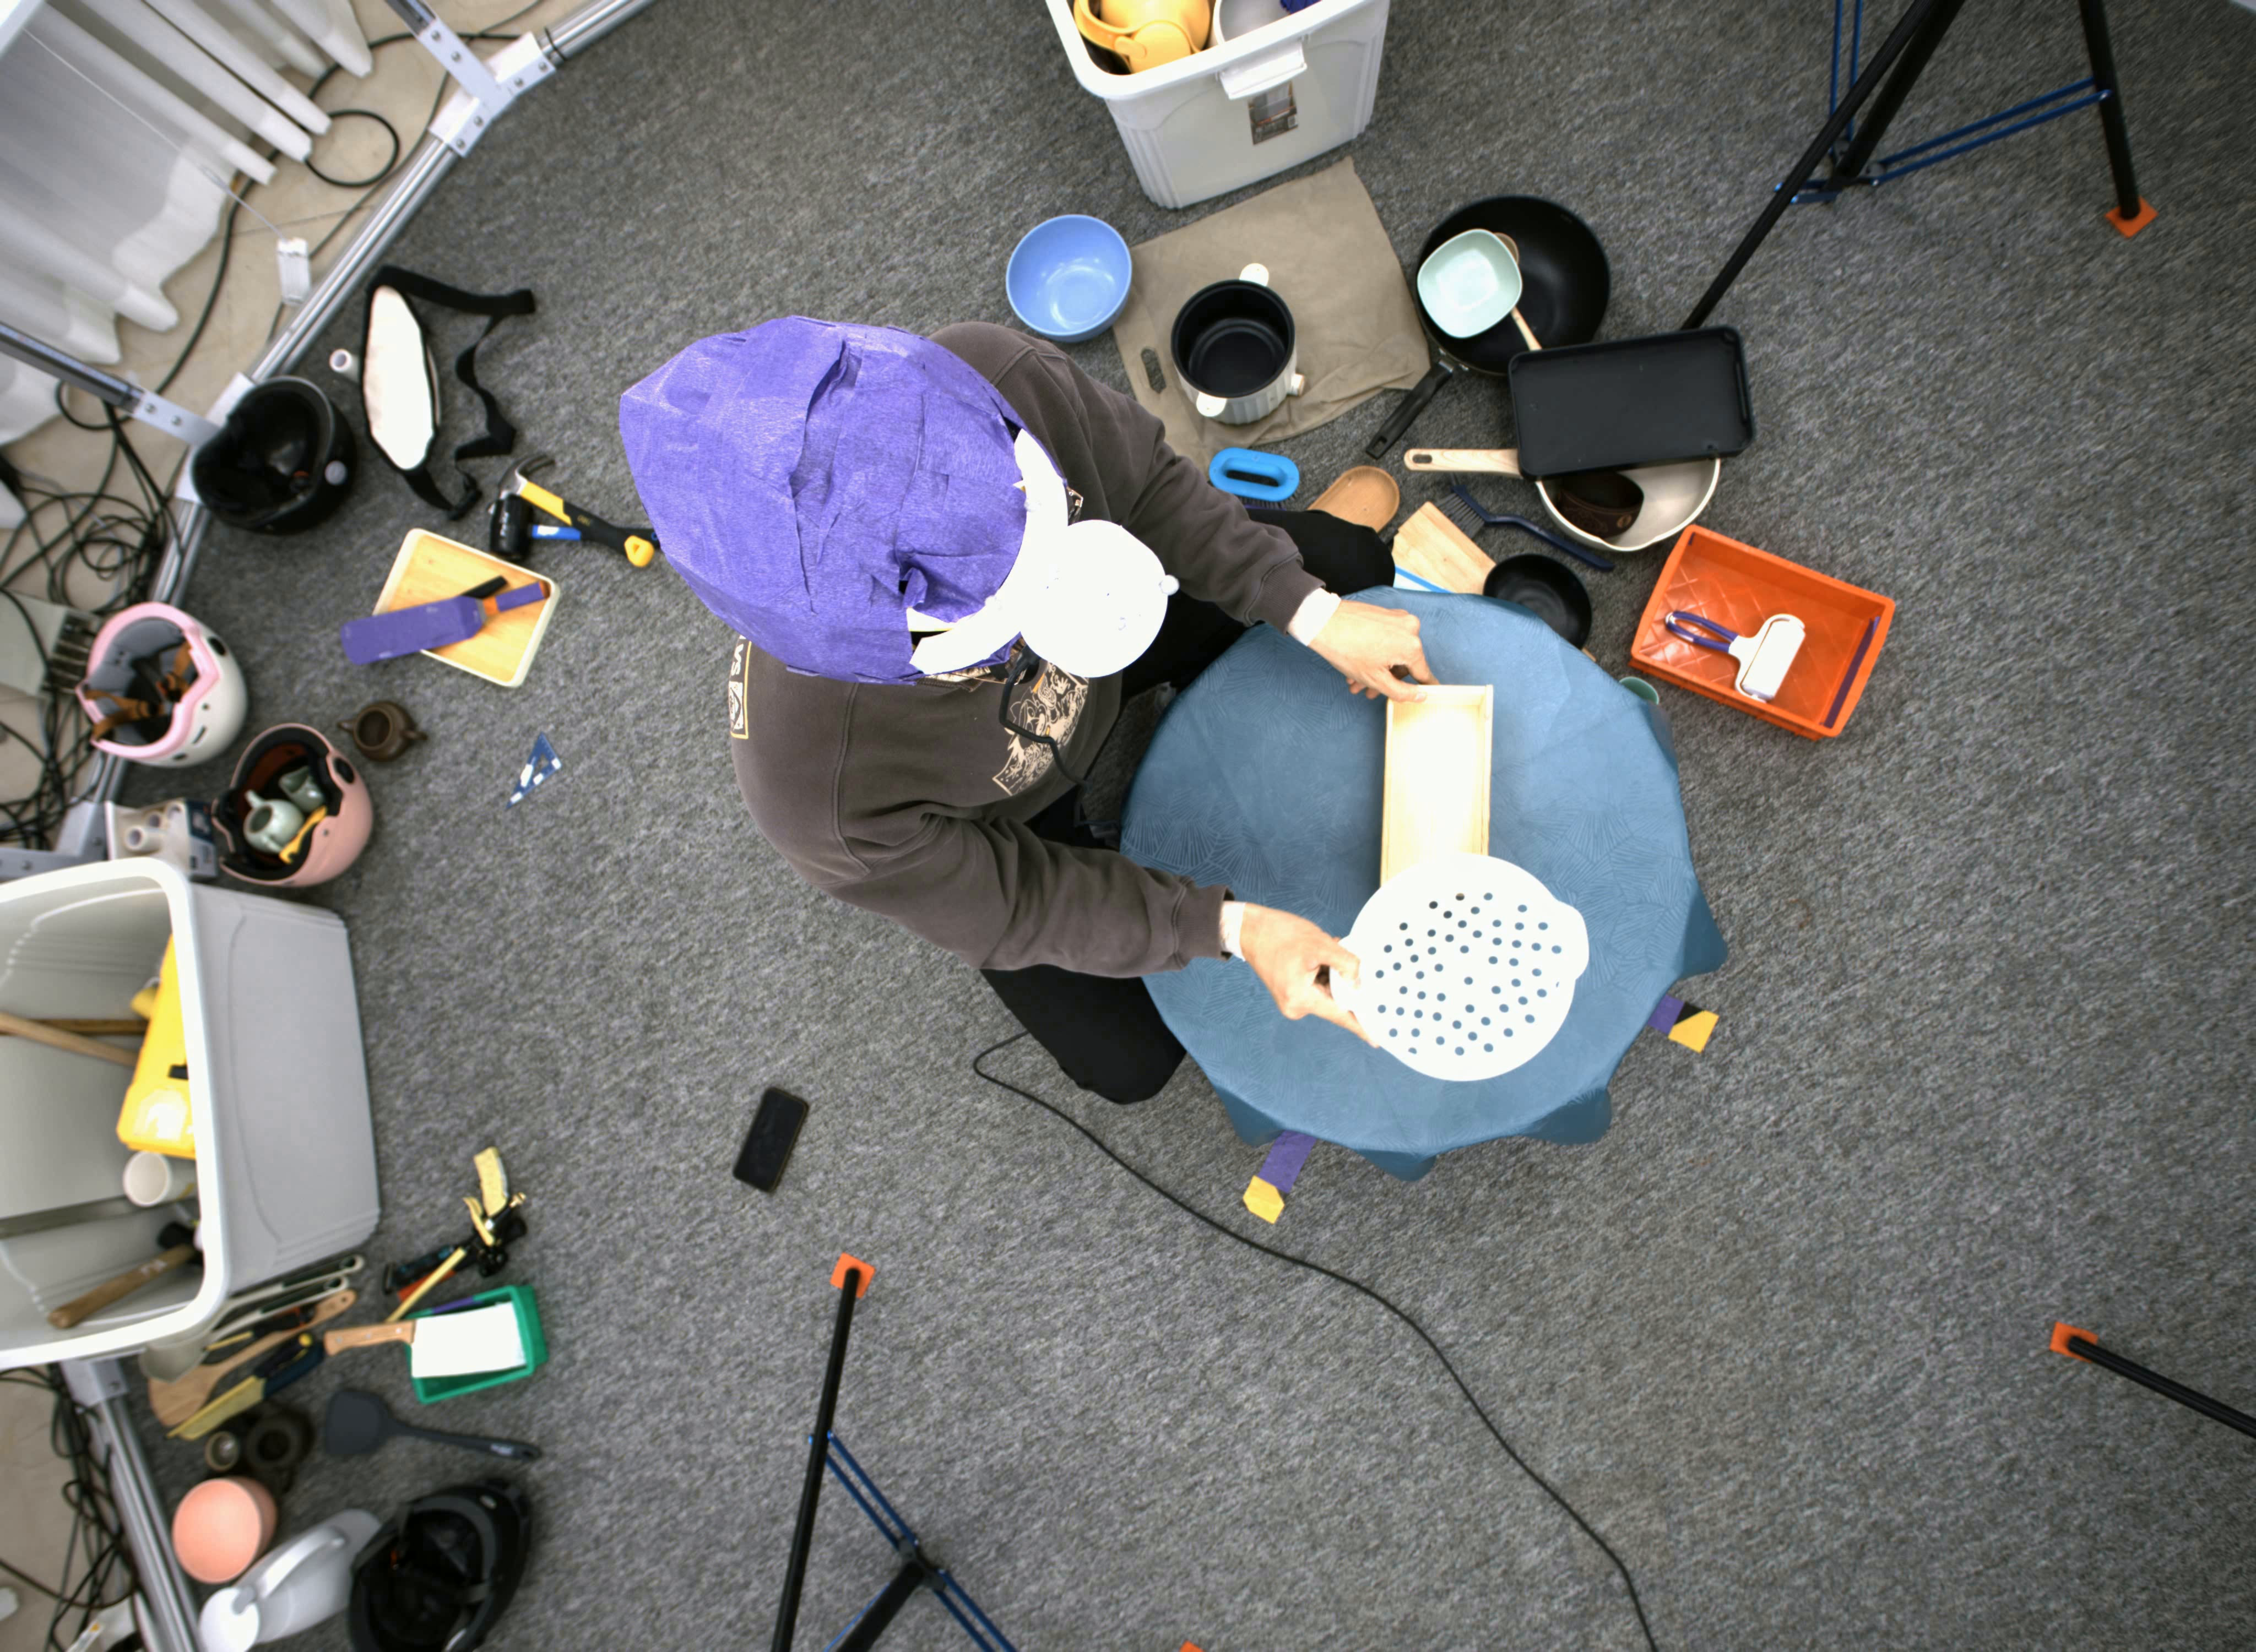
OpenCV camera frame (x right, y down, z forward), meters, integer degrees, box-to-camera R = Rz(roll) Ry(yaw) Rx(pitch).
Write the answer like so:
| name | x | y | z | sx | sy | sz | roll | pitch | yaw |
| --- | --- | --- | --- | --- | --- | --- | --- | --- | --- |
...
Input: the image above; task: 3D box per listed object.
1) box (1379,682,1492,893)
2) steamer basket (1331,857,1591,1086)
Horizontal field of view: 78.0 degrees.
| name | x | y | z | sx | sy | sz | roll | pitch | yaw |
| --- | --- | --- | --- | --- | --- | --- | --- | --- | --- |
| box | 0.315 | -0.037 | 1.414 | 0.108 | 0.080 | 0.210 | 2 | 87 | 11 |
| steamer basket | 0.301 | 0.129 | 1.239 | 0.233 | 0.070 | 0.197 | -10 | 62 | 24 |
